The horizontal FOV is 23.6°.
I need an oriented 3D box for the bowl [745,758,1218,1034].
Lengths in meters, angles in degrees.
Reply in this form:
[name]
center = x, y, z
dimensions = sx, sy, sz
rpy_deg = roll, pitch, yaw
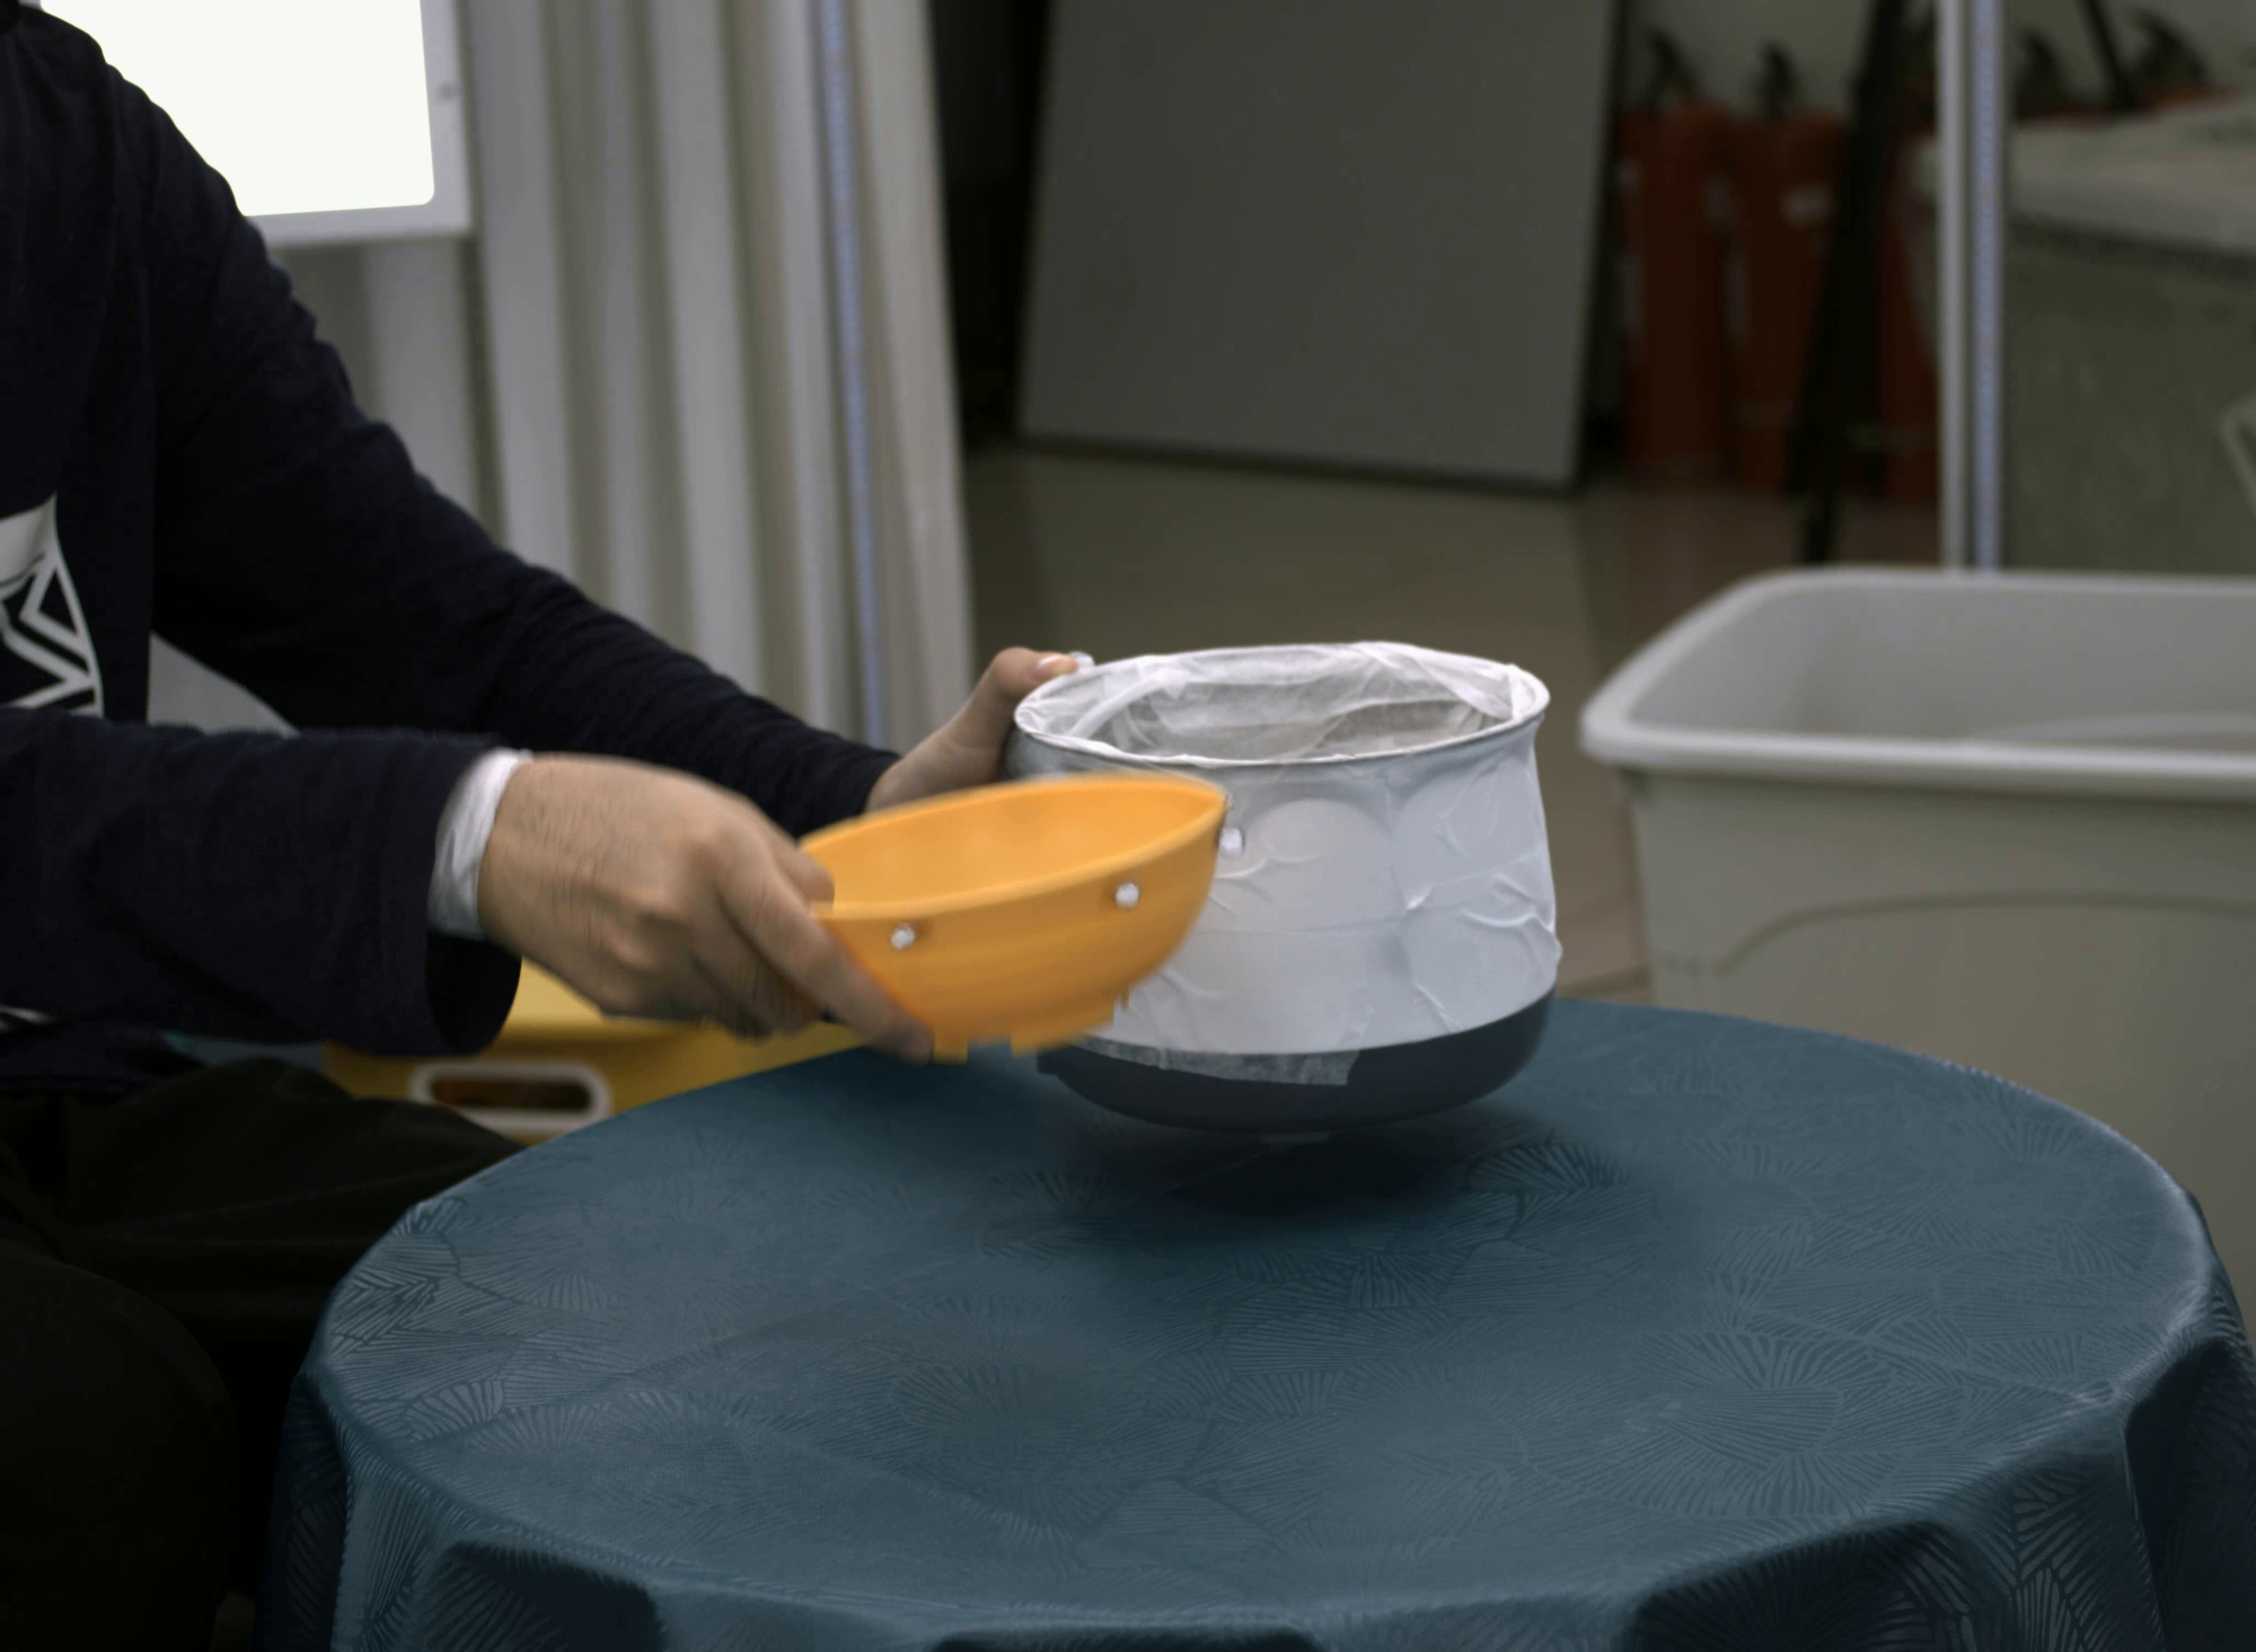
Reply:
[bowl]
center = -0.039, 0.024, 1.606
dimensions = 0.143, 0.061, 0.145
rpy_deg = -10, 11, 1

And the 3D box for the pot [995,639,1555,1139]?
[pot]
center = 0.033, 0.015, 1.800
dimensions = 0.175, 0.138, 0.236
rpy_deg = -11, 16, -43
